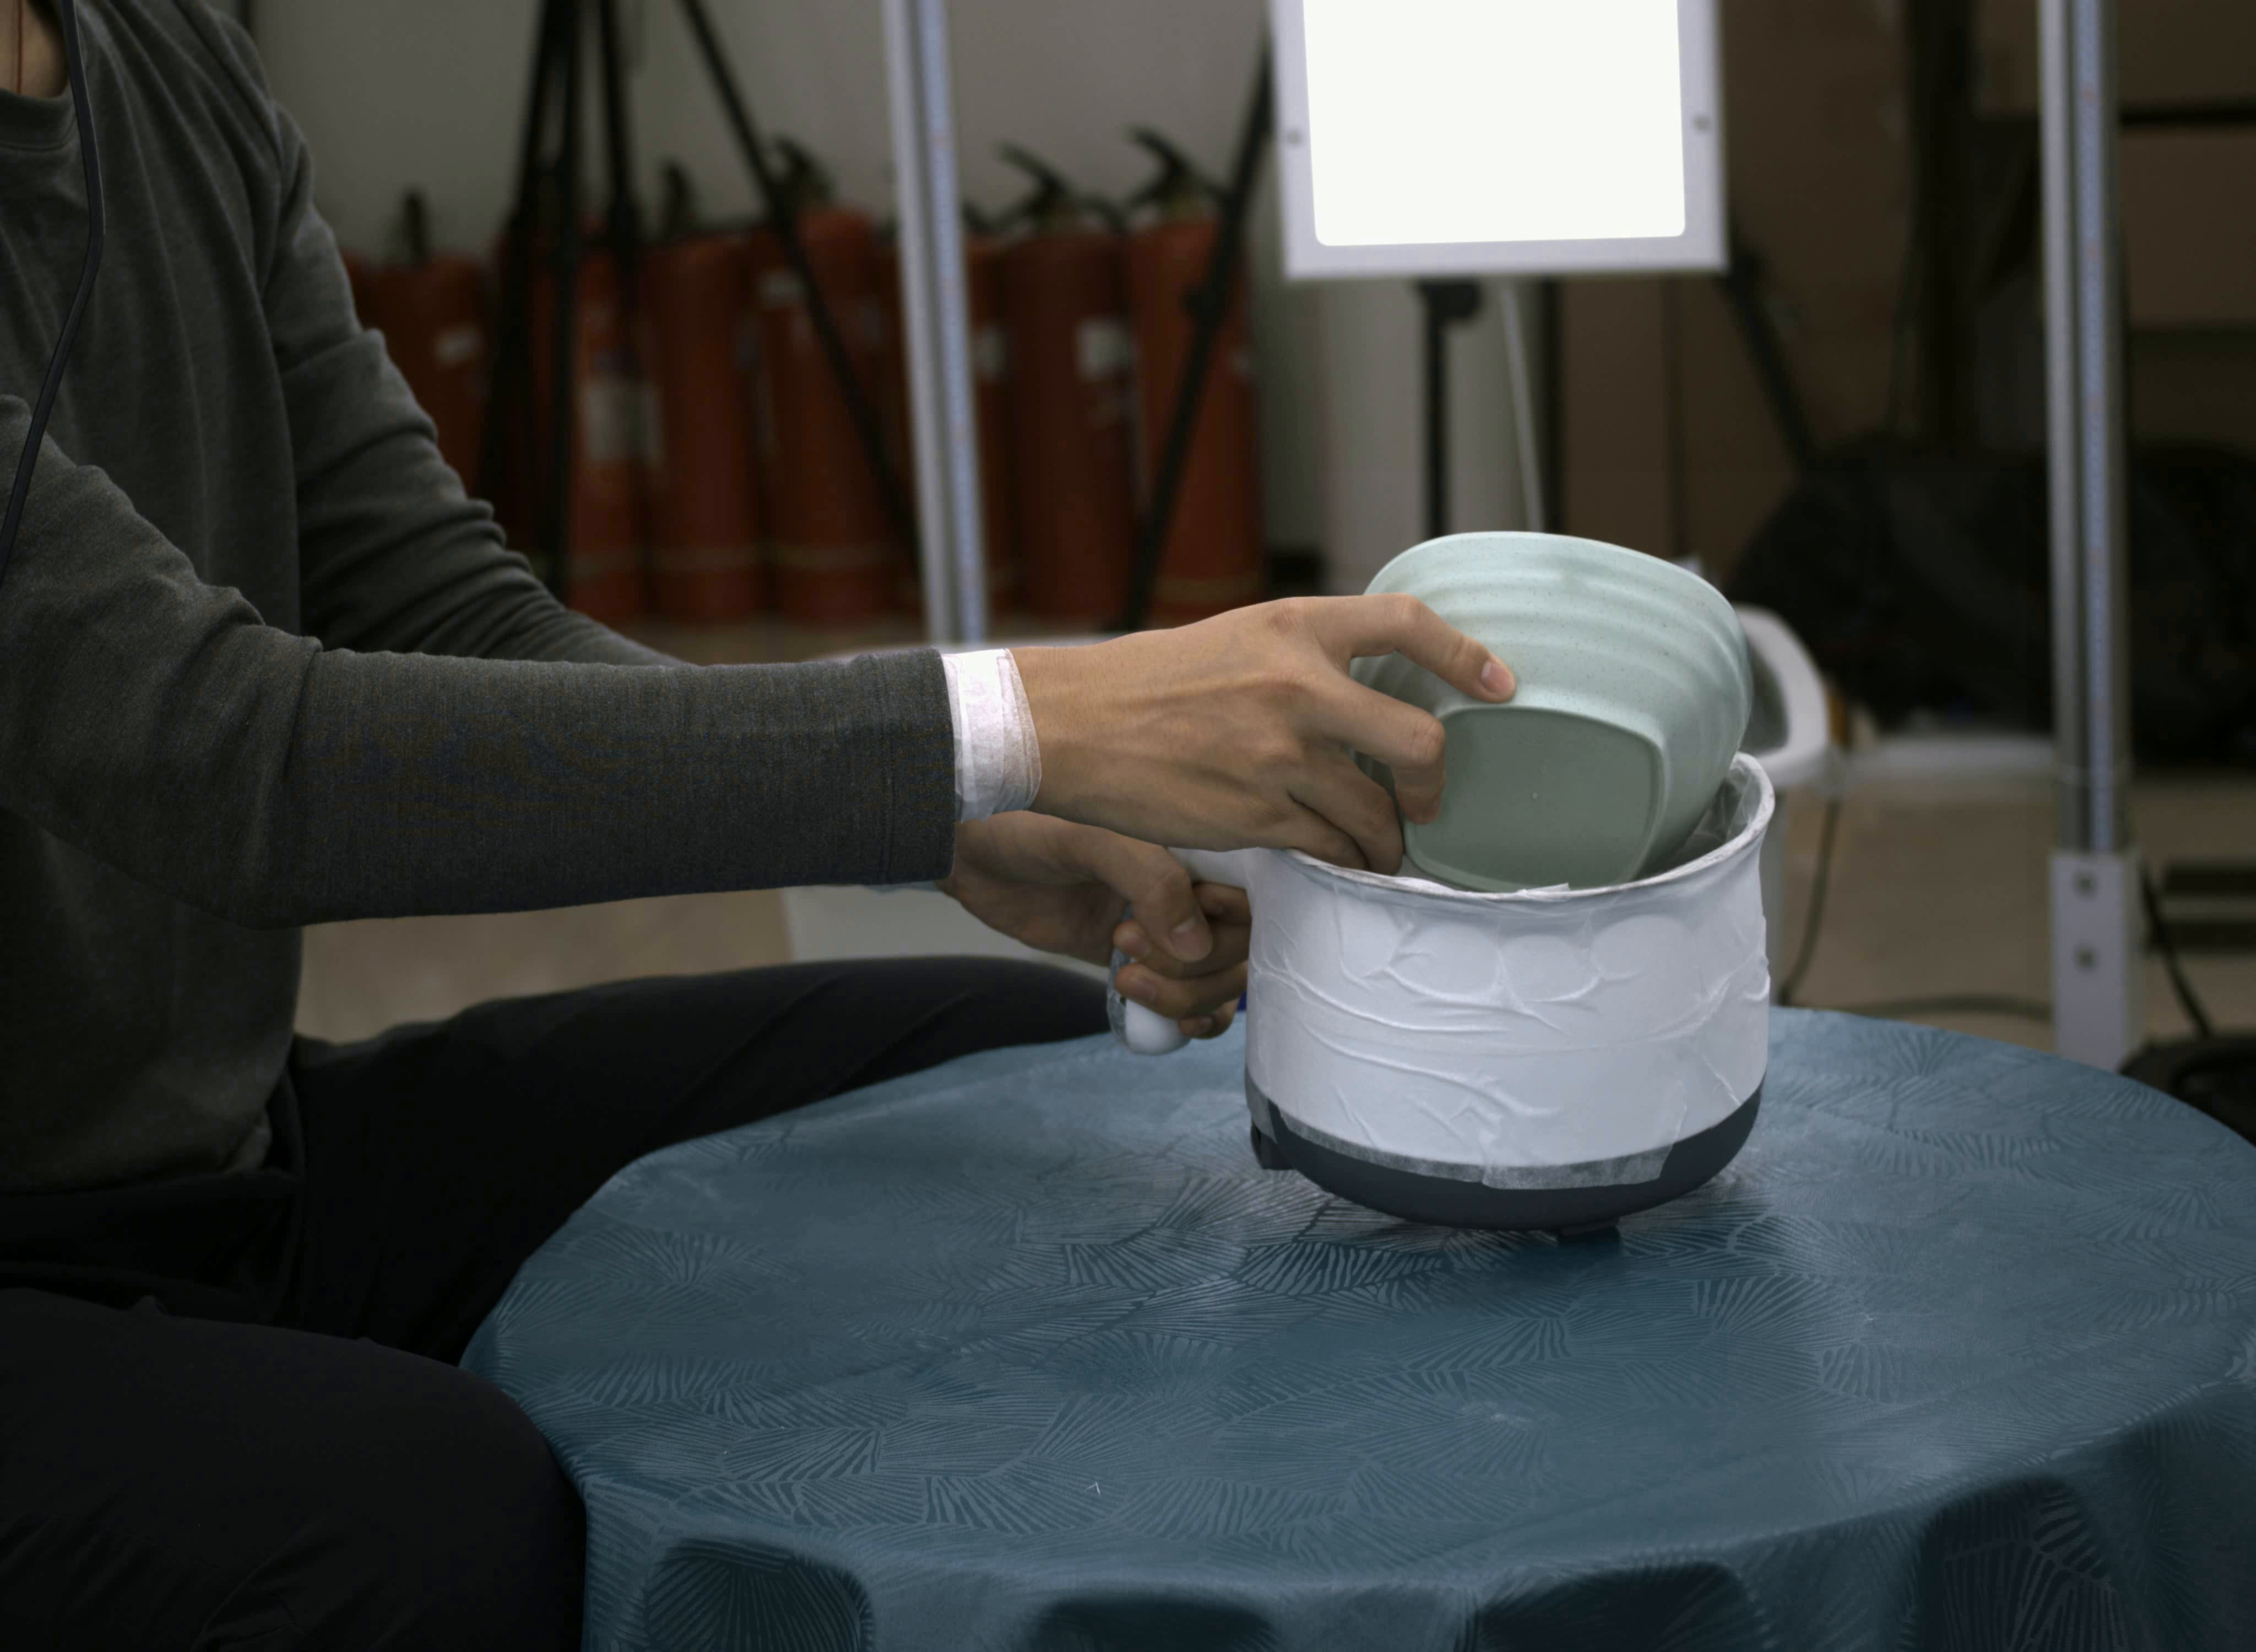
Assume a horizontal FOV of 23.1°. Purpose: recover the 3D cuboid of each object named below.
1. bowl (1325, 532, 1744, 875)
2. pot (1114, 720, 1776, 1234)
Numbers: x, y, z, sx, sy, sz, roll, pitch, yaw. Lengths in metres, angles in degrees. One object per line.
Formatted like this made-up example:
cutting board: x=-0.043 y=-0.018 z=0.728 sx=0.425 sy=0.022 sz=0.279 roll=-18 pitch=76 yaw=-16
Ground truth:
bowl: x=0.133 y=-0.025 z=1.817 sx=0.152 sy=0.151 sz=0.058 roll=-1 pitch=41 yaw=12
pot: x=0.103 y=0.043 z=1.863 sx=0.237 sy=0.137 sz=0.175 roll=8 pitch=24 yaw=24
